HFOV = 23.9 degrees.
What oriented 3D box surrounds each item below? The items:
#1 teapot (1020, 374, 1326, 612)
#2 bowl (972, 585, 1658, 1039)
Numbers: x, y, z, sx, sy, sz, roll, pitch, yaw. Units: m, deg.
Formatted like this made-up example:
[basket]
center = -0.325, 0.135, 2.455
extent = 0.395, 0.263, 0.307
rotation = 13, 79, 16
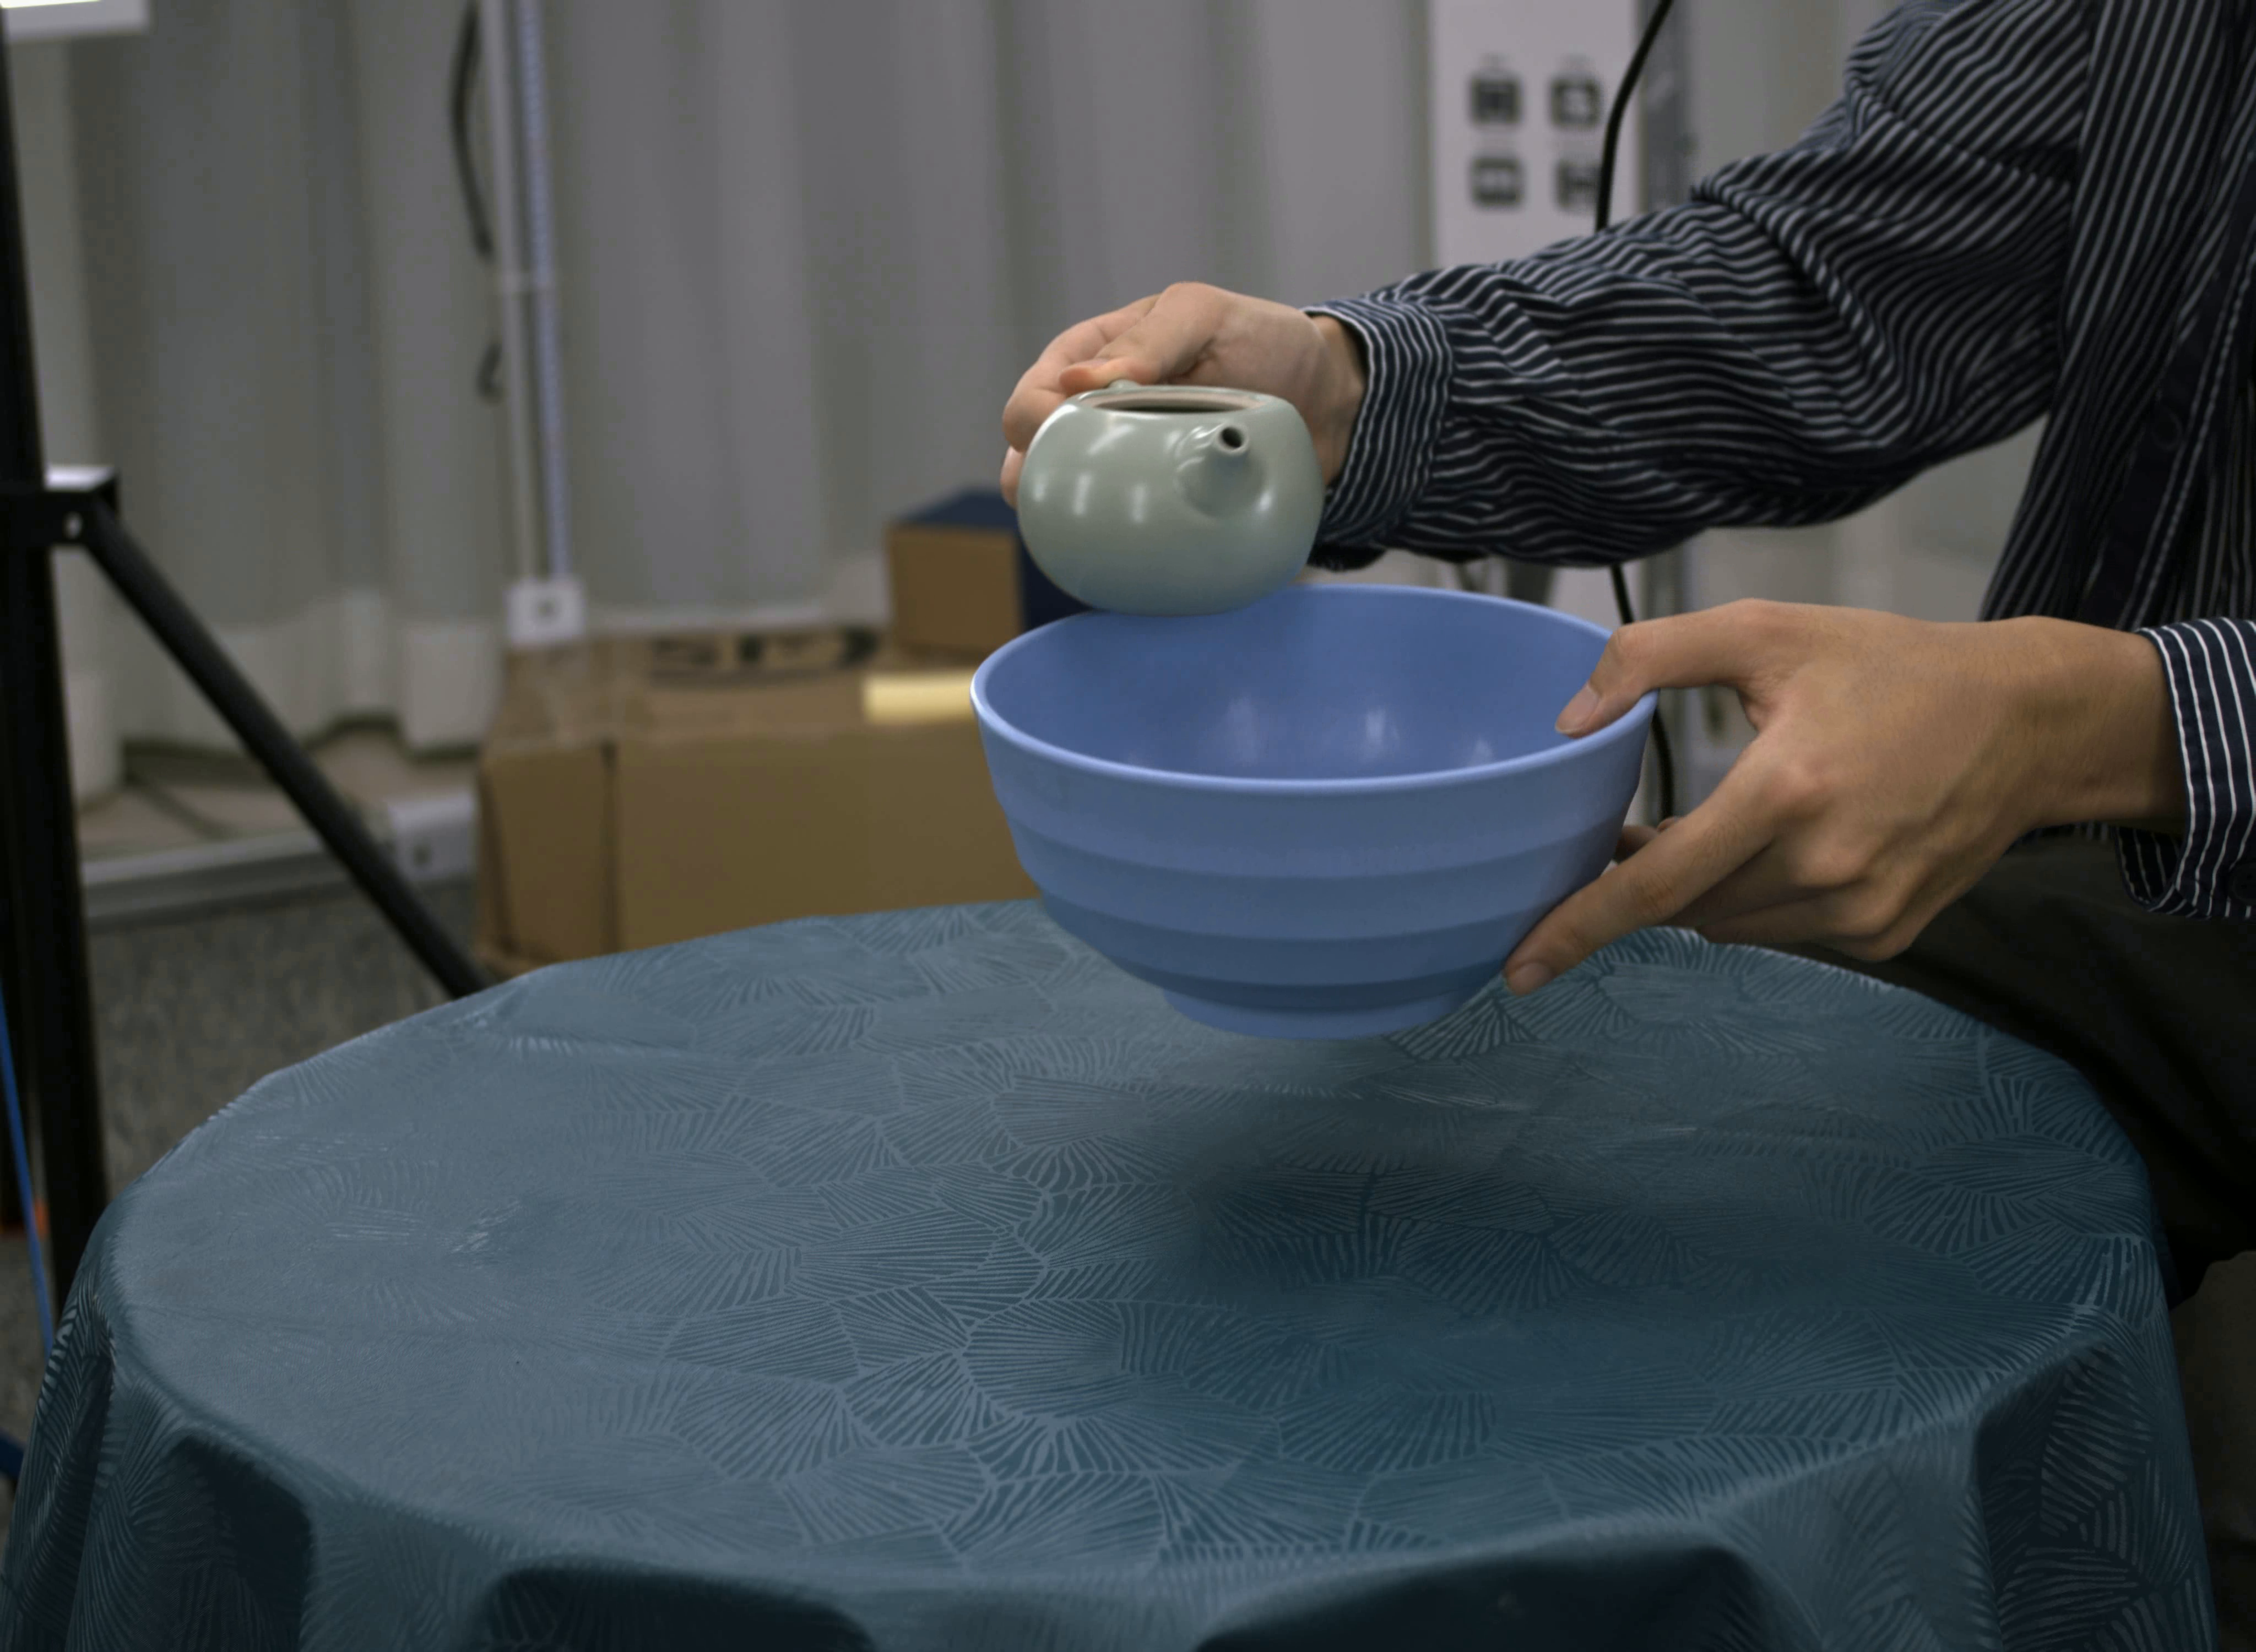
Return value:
[teapot]
center = 0.011, -0.100, 1.588
extent = 0.090, 0.061, 0.130
rotation = -5, 13, -13
[bowl]
center = 0.054, 0.001, 1.529
extent = 0.195, 0.095, 0.197
rotation = -2, 18, -1
